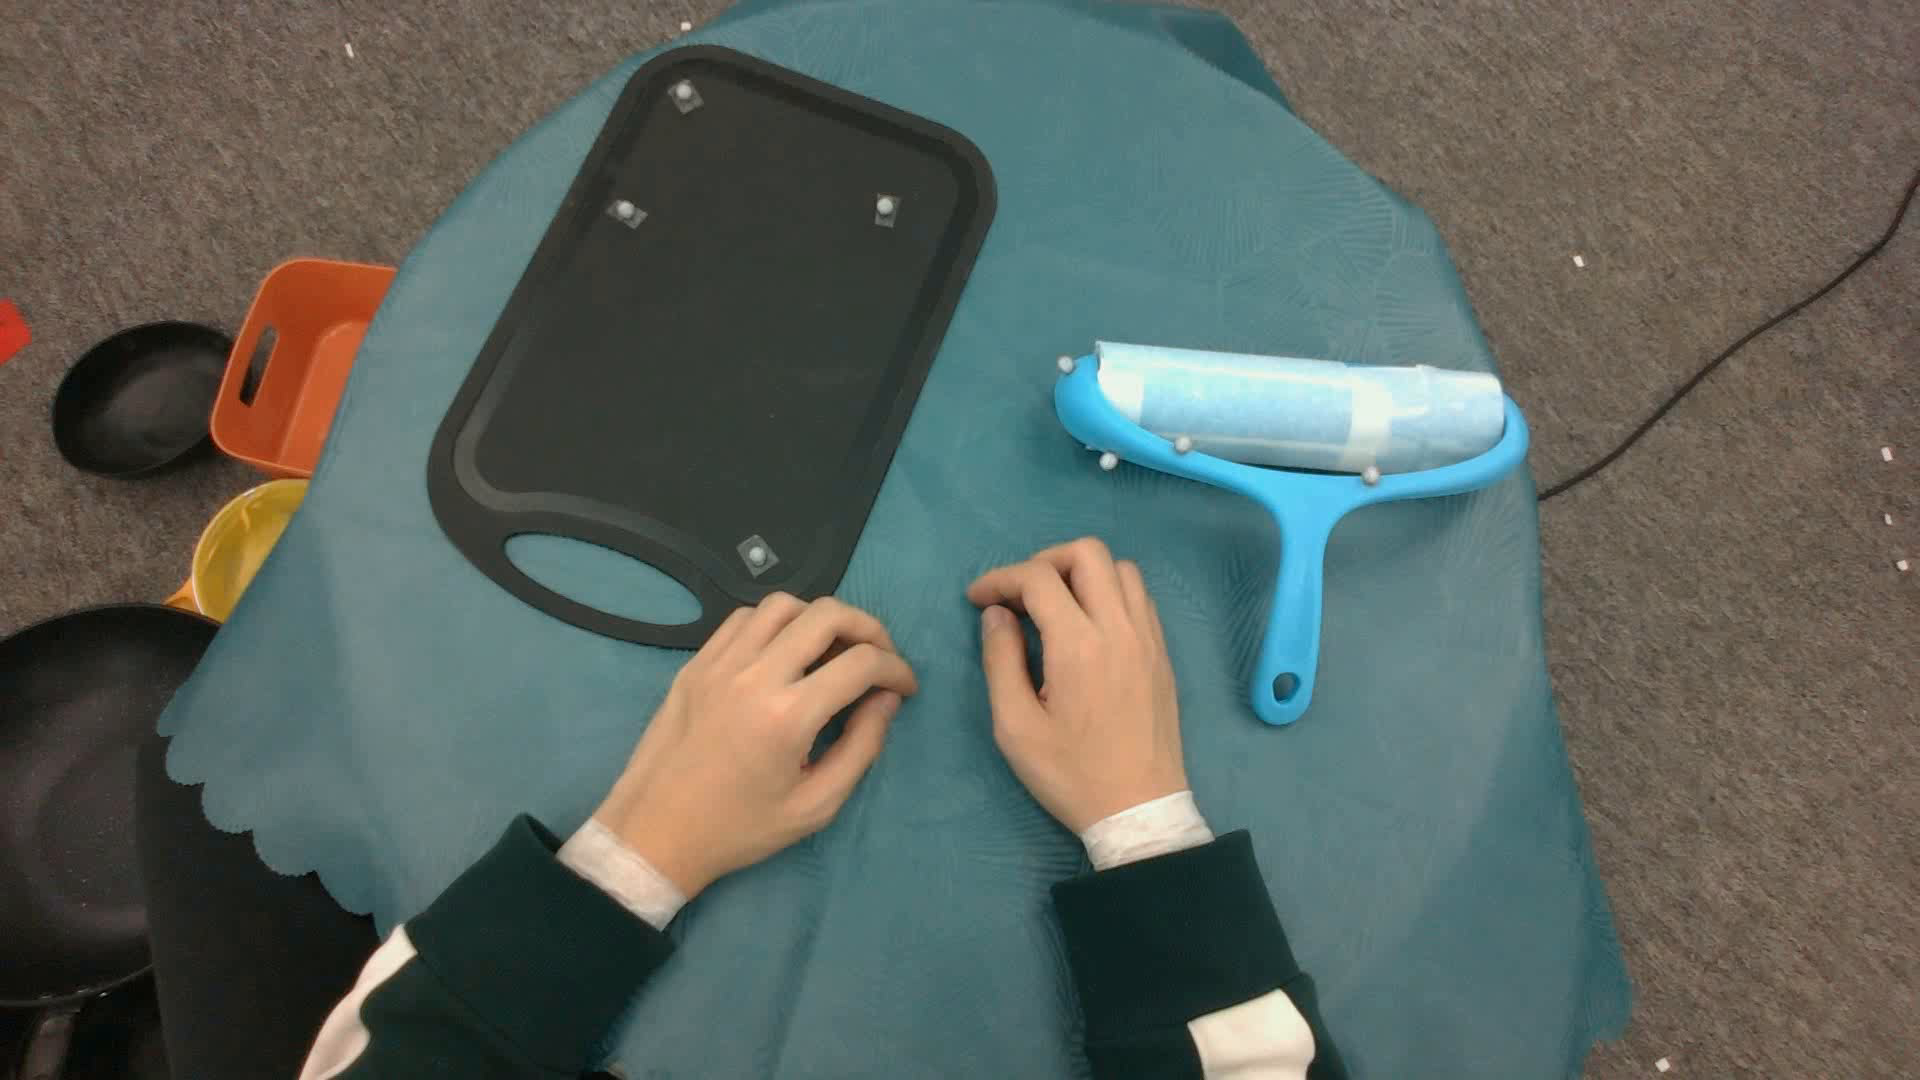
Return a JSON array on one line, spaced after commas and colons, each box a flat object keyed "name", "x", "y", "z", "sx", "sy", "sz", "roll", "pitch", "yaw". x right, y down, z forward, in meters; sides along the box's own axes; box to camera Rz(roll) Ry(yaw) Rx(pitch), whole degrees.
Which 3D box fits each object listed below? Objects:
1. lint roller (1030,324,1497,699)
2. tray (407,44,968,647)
[{"name": "lint roller", "x": 0.150, "y": -0.019, "z": 0.657, "sx": 0.229, "sy": 0.067, "sz": 0.181, "roll": 1, "pitch": 70, "yaw": -6}, {"name": "tray", "x": -0.133, "y": -0.104, "z": 0.694, "sx": 0.211, "sy": 0.010, "sz": 0.326, "roll": 19, "pitch": 71, "yaw": 3}]
